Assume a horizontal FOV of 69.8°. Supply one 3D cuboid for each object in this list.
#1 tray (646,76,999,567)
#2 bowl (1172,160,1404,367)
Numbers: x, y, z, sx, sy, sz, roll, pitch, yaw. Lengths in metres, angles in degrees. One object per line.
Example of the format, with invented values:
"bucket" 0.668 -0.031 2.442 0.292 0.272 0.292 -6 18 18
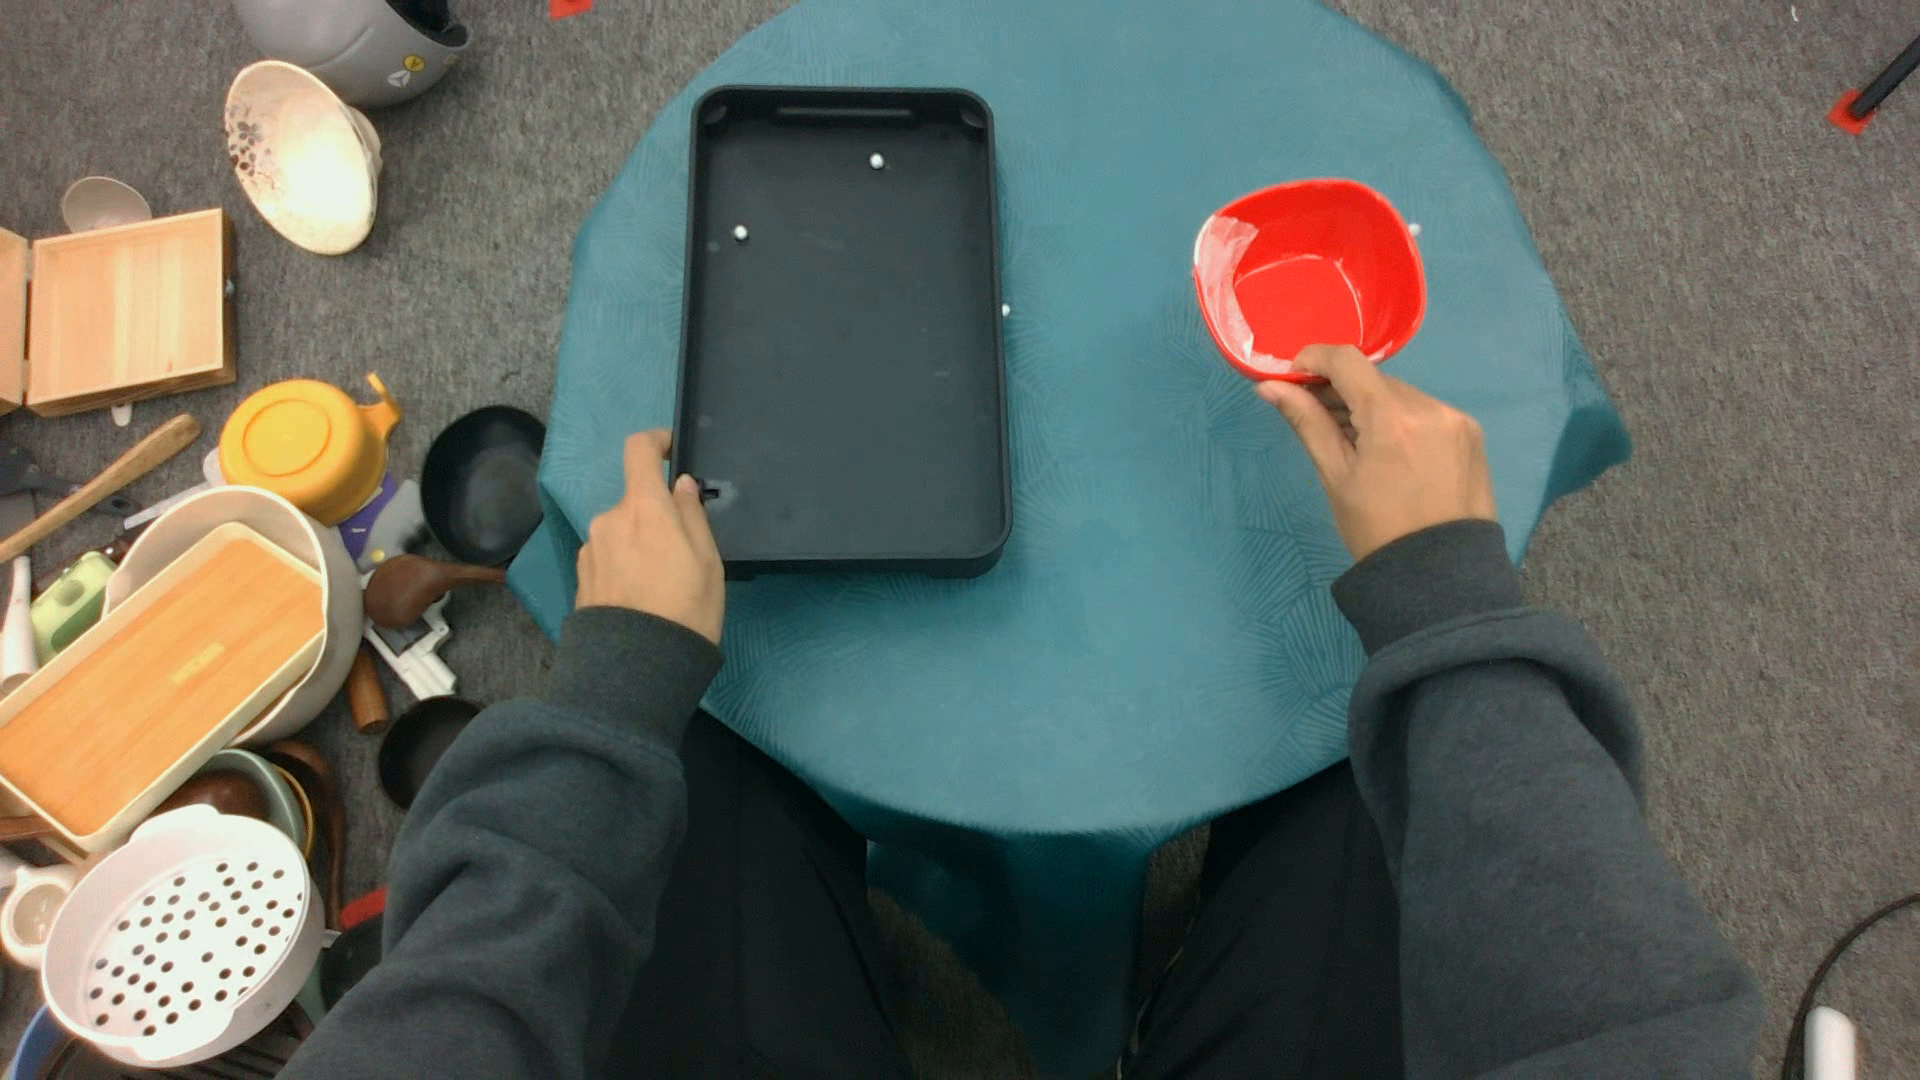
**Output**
"tray" -0.078 -0.135 0.792 0.184 0.037 0.319 -1 65 -4
"bowl" 0.166 -0.134 0.709 0.119 0.051 0.119 -2 70 5
